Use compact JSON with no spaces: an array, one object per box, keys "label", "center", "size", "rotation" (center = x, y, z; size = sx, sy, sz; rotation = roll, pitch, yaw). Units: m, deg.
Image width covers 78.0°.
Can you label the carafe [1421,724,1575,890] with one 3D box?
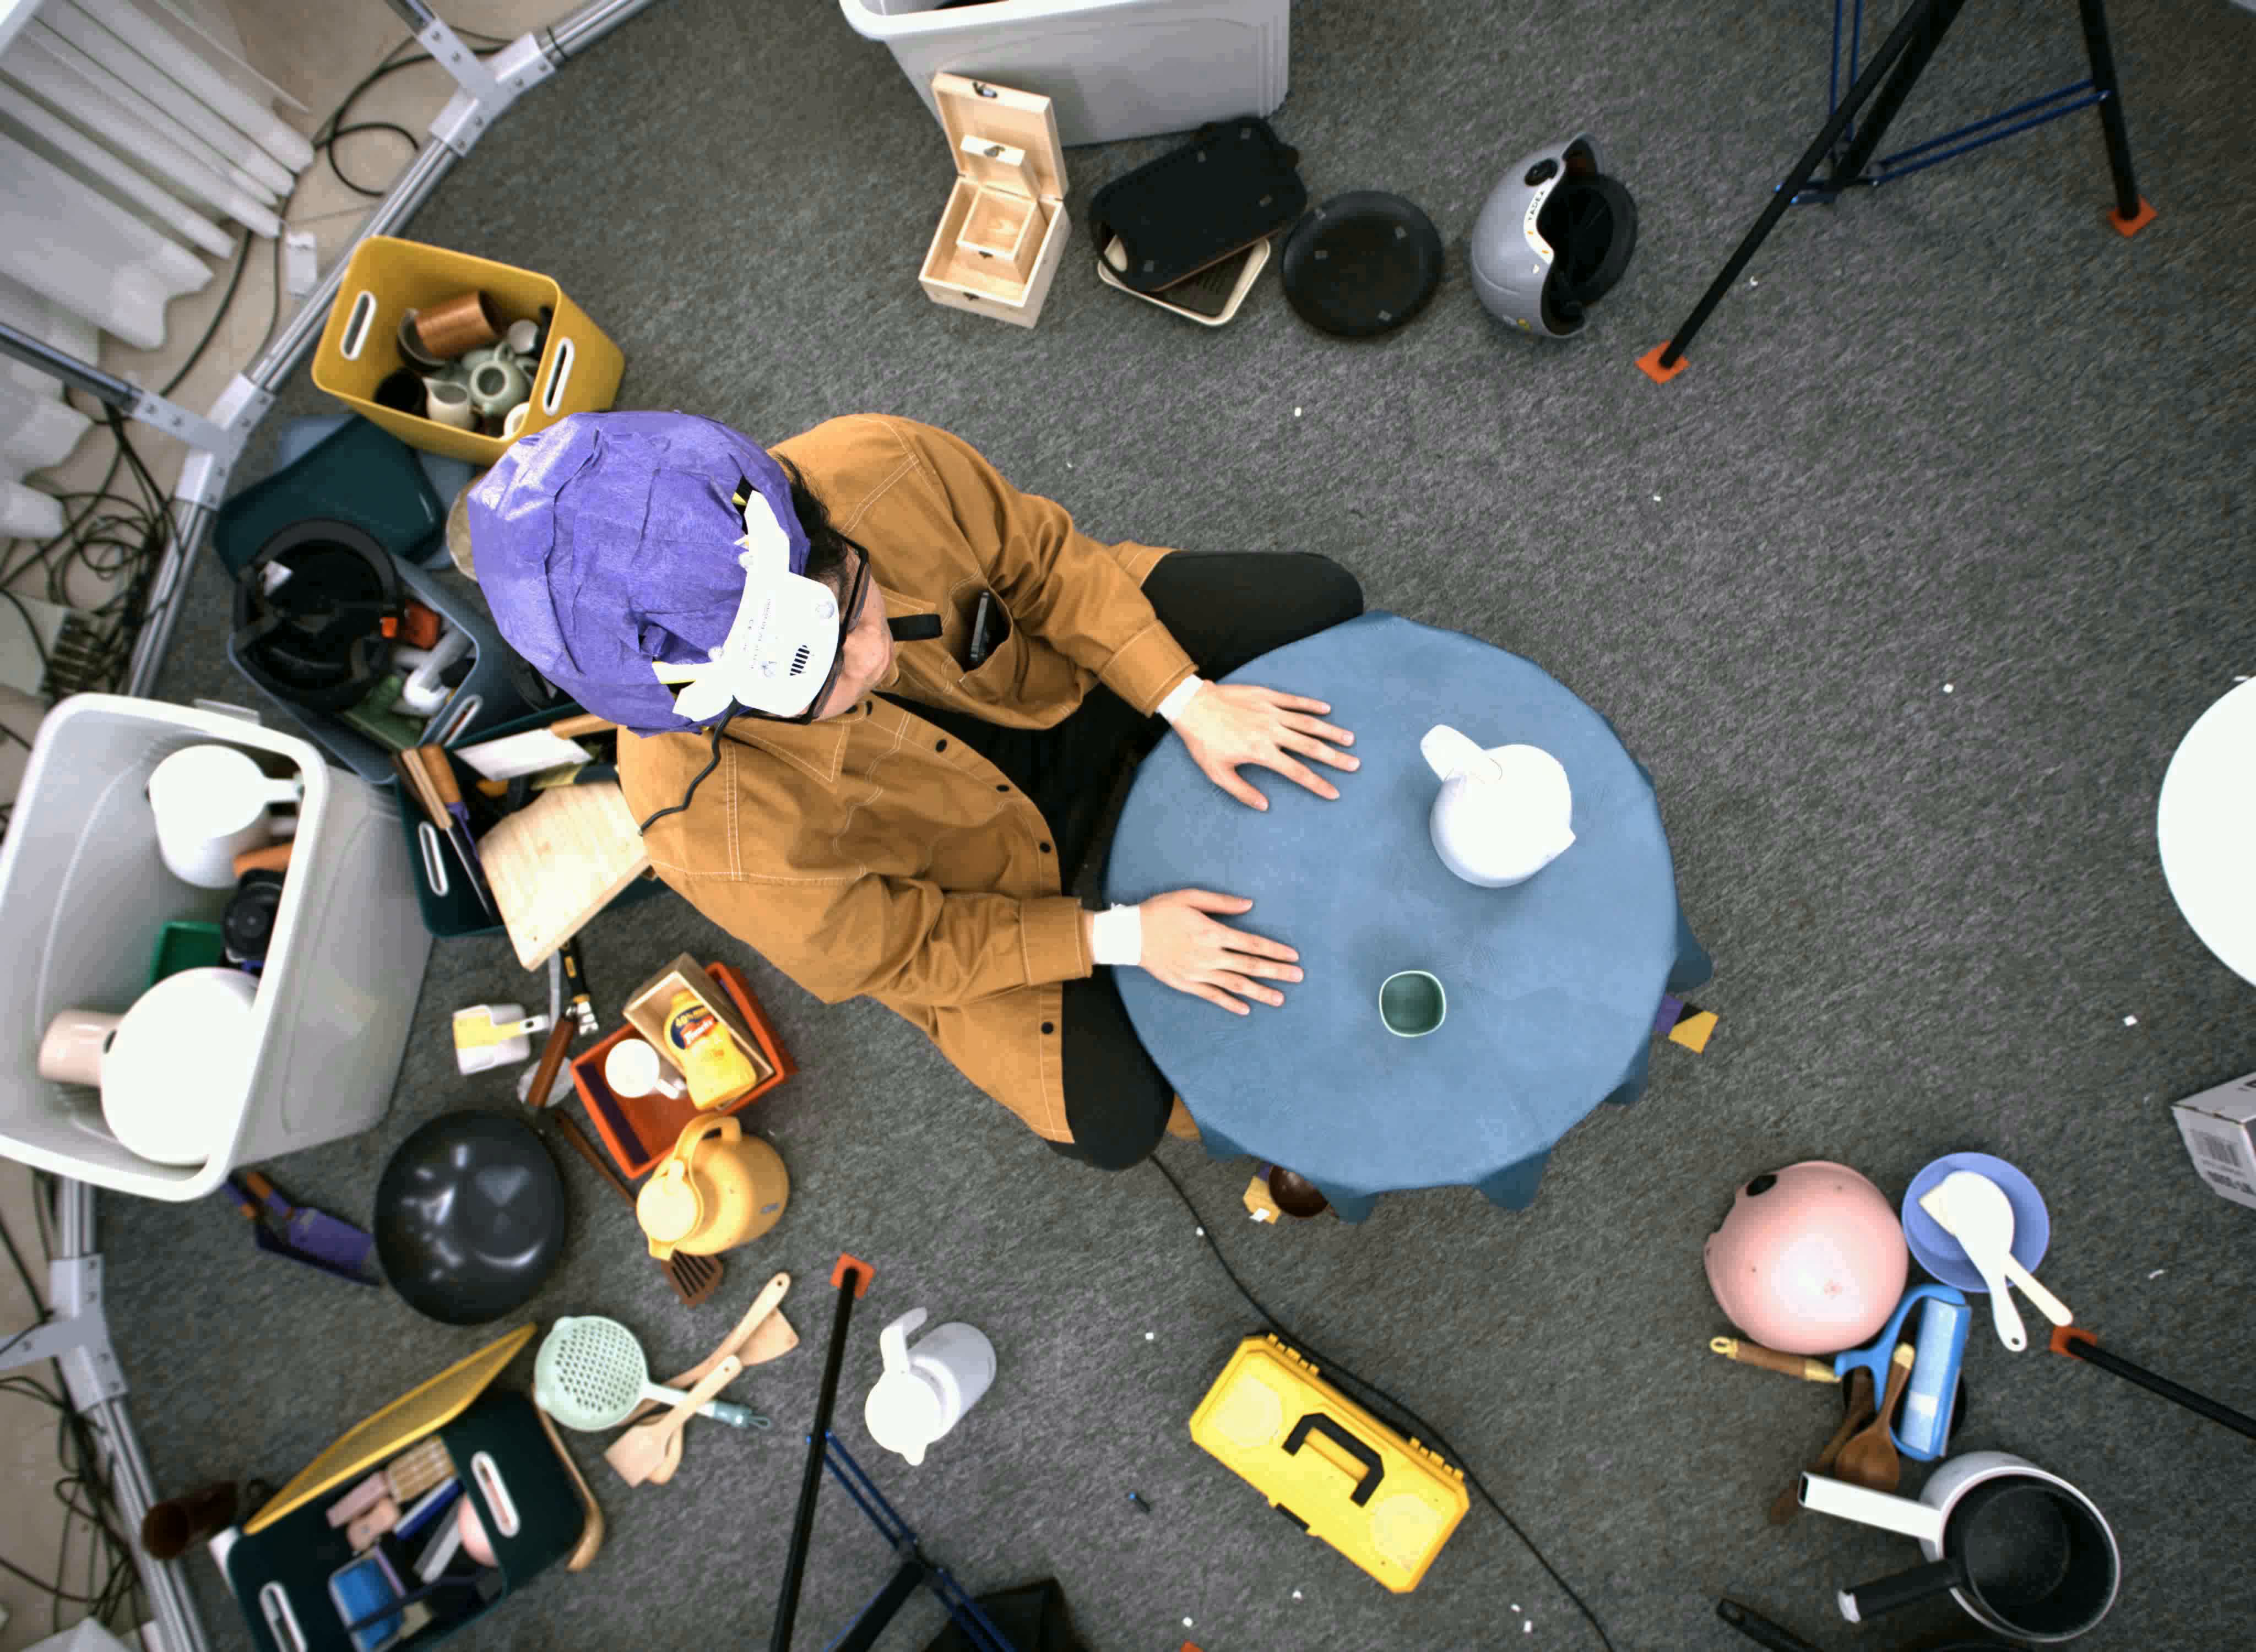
[{"label":"carafe","center":[0.349,-0.028,1.327],"size":[0.133,0.249,0.167],"rotation":[-46,78,2]}]

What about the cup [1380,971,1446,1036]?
[{"label":"cup","center":[0.284,0.176,1.391],"size":[0.067,0.132,0.066],"rotation":[-1,84,10]}]
